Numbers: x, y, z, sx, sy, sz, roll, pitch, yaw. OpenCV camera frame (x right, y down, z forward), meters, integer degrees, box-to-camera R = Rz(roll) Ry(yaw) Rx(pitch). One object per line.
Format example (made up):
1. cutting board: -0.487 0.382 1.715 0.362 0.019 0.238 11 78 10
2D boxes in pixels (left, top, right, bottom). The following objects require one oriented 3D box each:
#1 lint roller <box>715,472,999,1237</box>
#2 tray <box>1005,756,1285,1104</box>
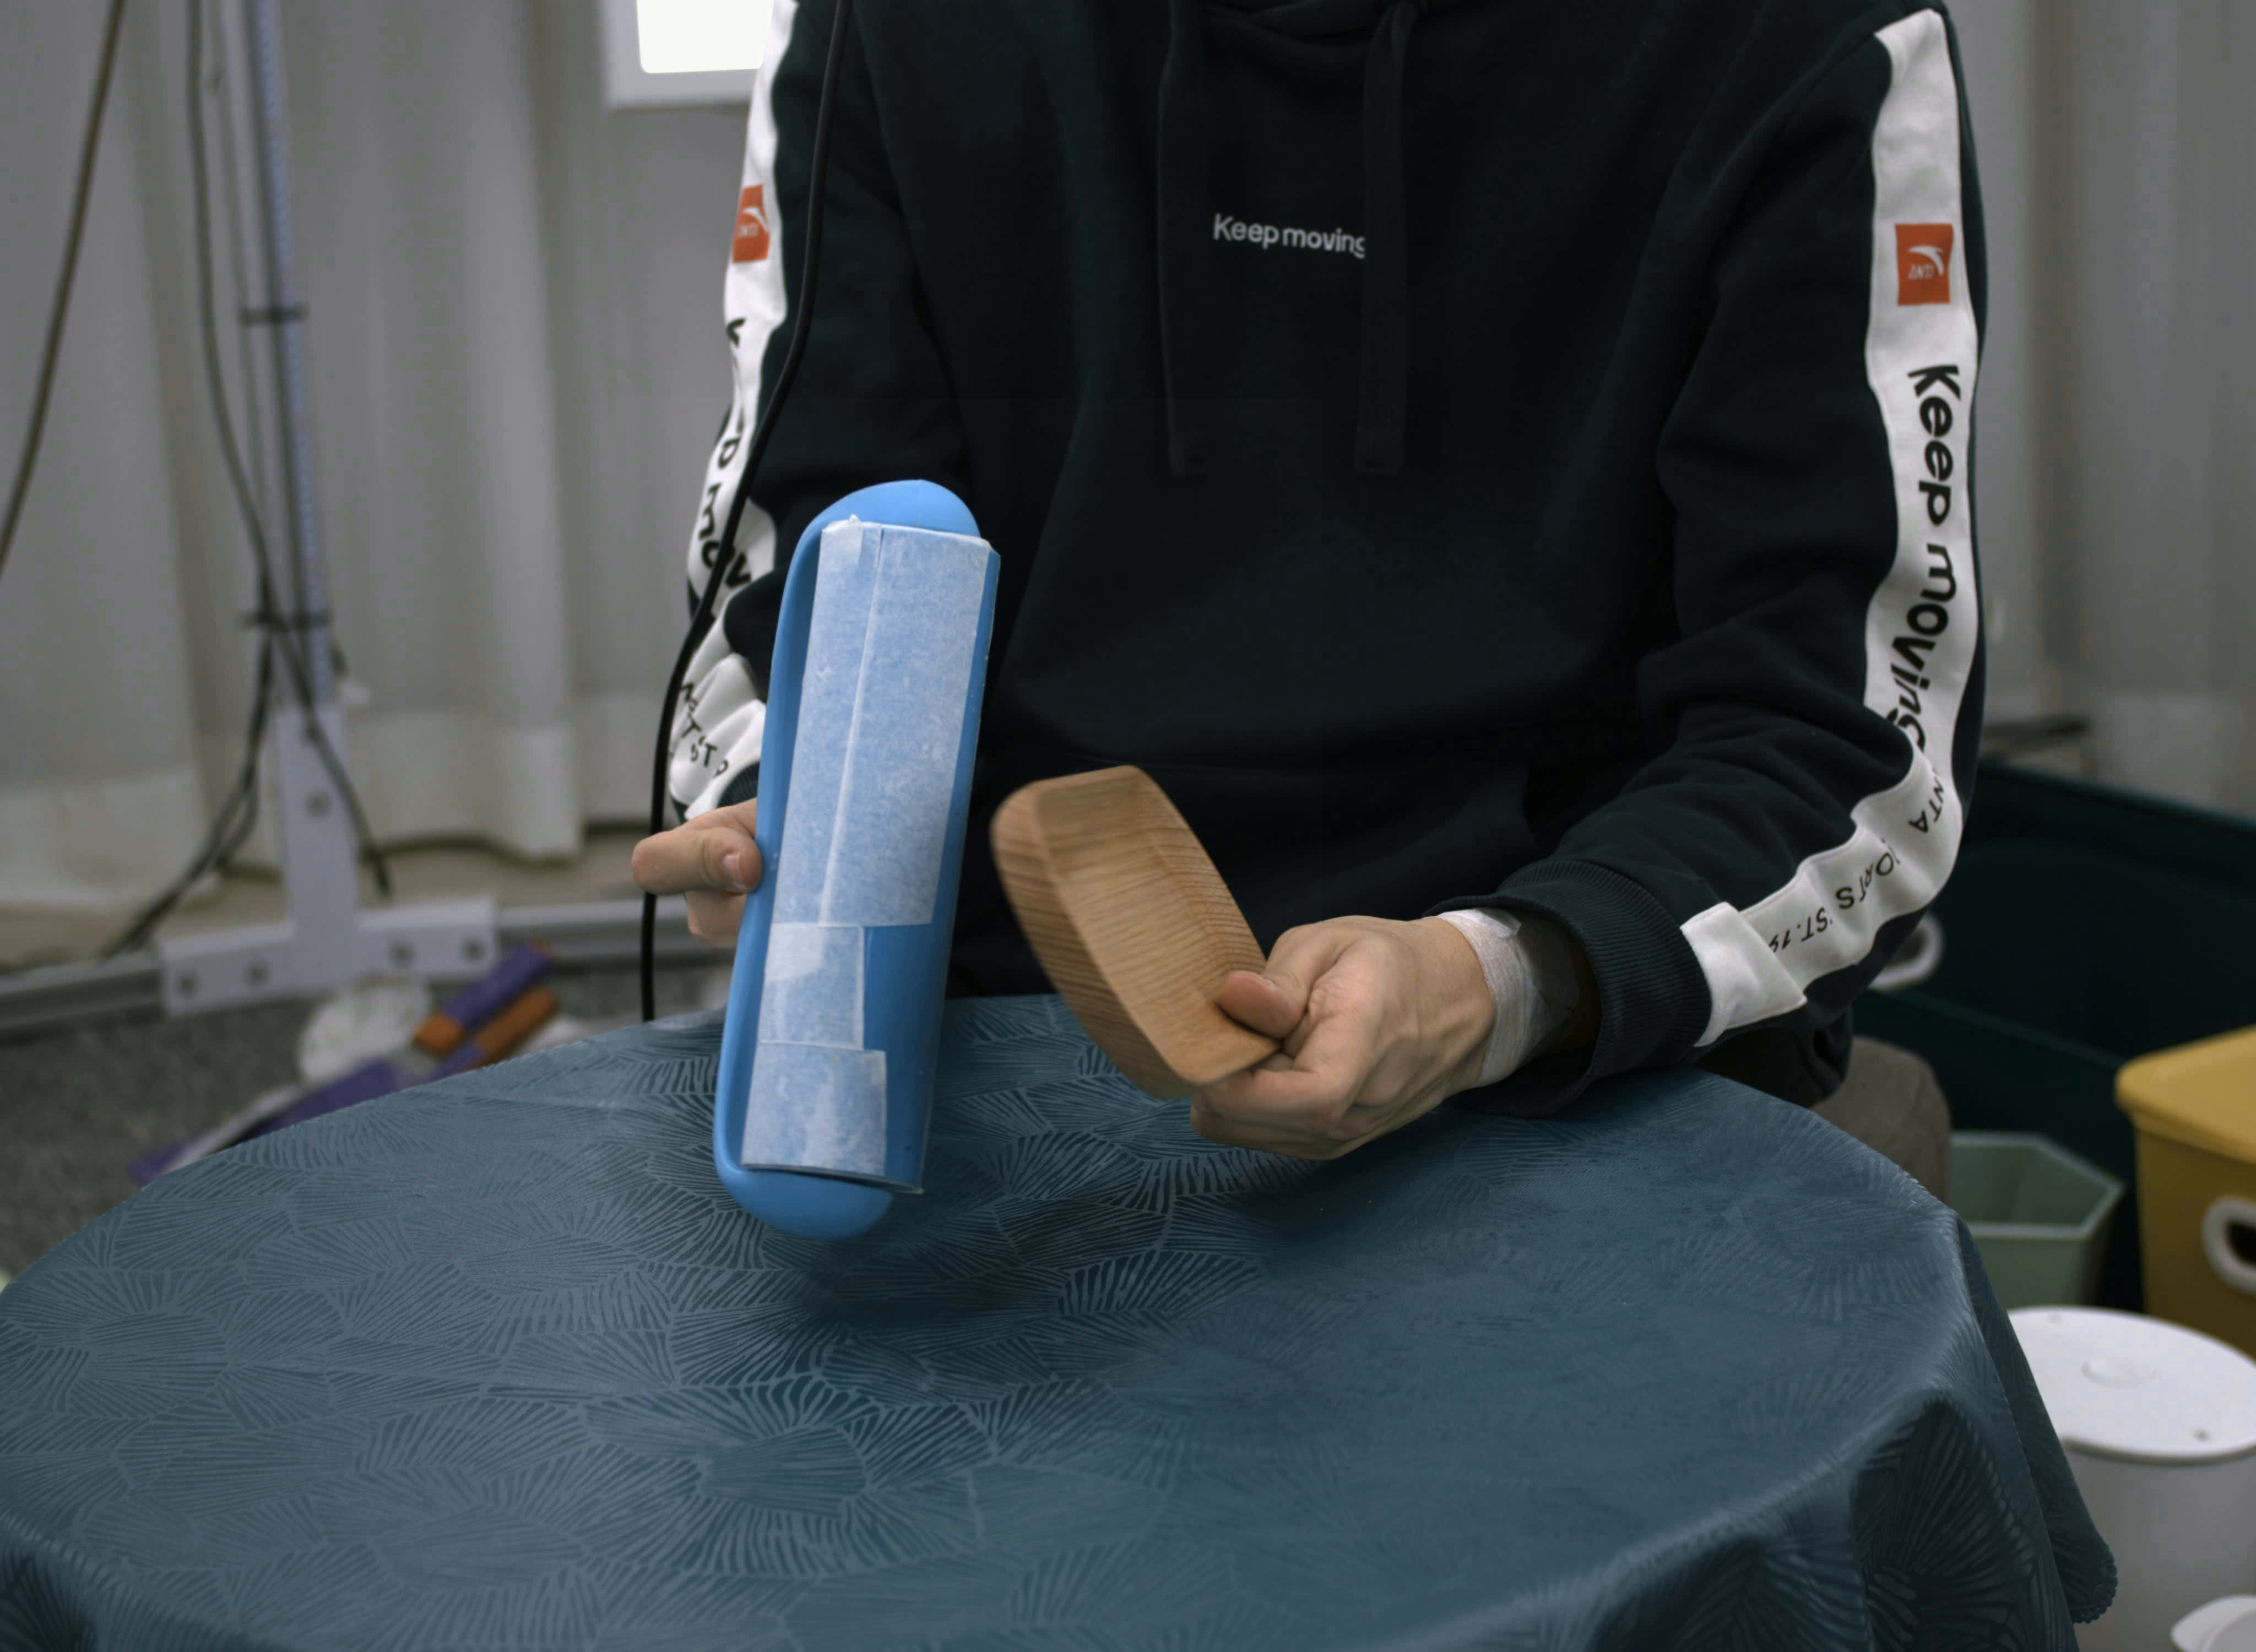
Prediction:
1. lint roller: -0.085 0.017 1.679 0.067 0.231 0.179 7 -11 -6
2. tray: 0.006 0.030 1.620 0.020 0.102 0.231 -28 -2 9
